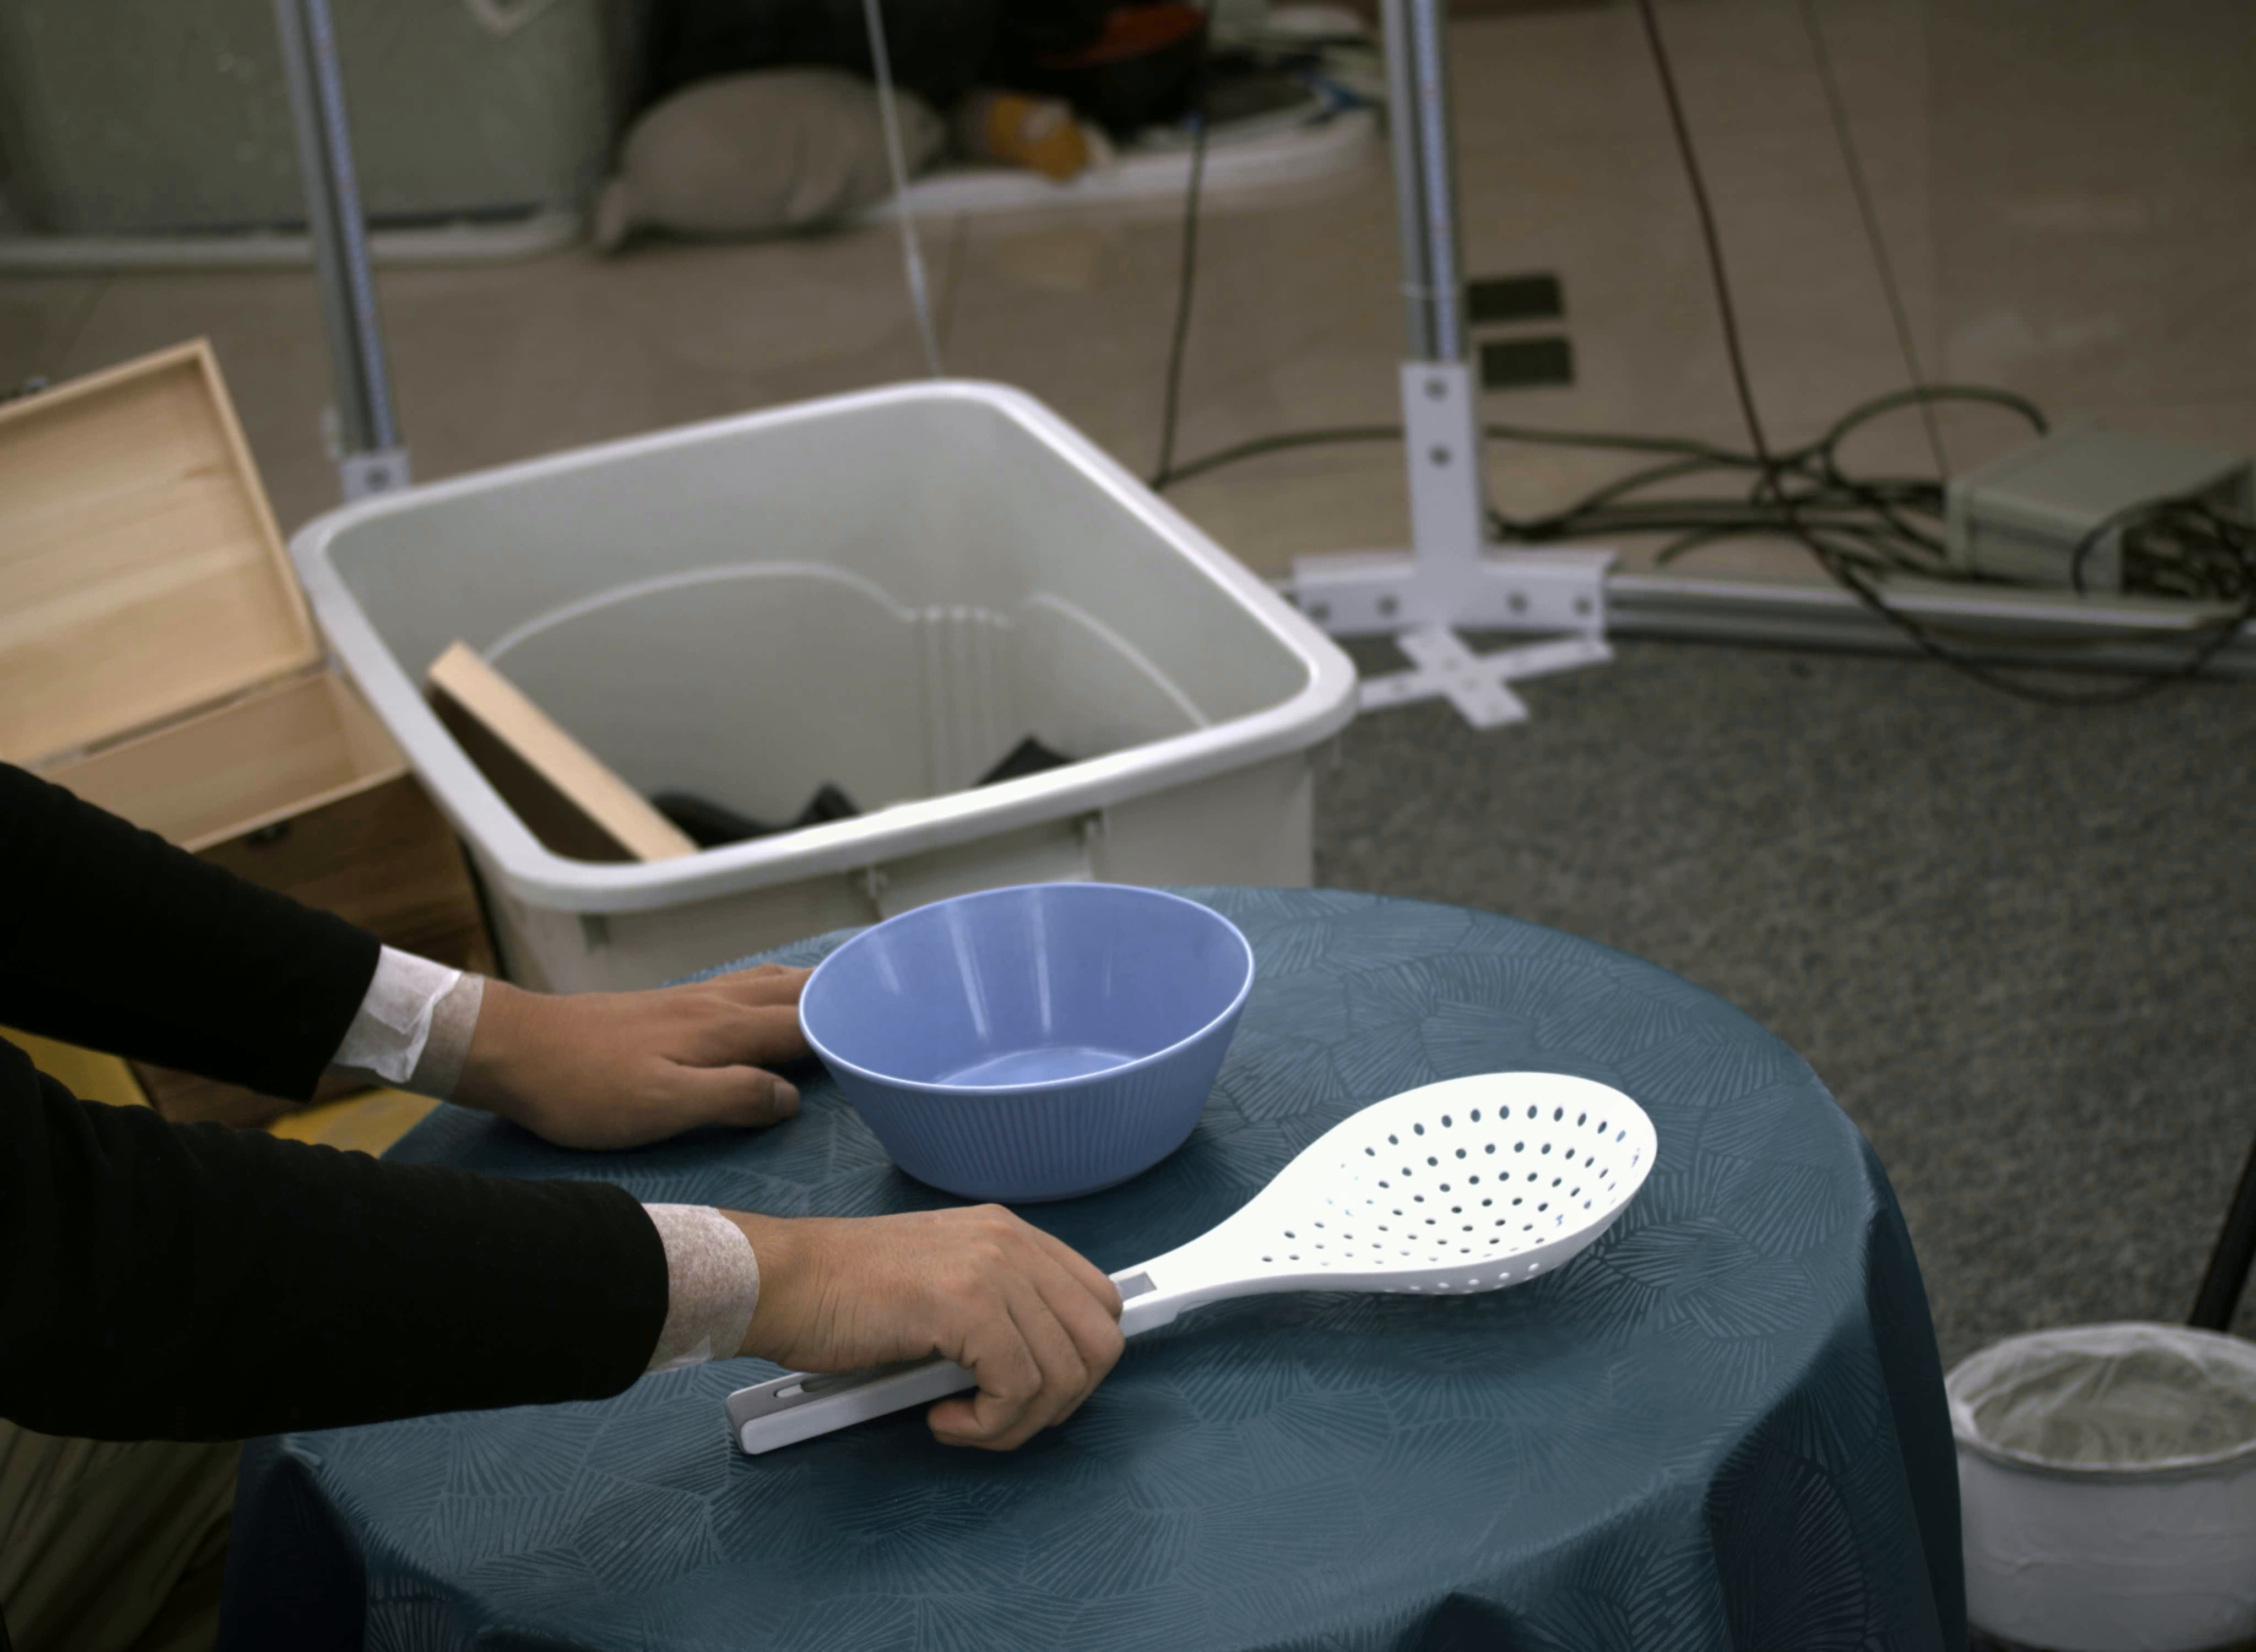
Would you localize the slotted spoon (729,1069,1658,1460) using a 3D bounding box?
[{"bbox_3d":[0.025,0.162,2.037,0.348,0.046,0.134,-14,27,-13],"label":"slotted spoon"}]

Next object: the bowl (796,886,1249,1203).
[{"bbox_3d":[-0.037,0.090,2.180,0.176,0.071,0.173,-6,25,3],"label":"bowl"}]
